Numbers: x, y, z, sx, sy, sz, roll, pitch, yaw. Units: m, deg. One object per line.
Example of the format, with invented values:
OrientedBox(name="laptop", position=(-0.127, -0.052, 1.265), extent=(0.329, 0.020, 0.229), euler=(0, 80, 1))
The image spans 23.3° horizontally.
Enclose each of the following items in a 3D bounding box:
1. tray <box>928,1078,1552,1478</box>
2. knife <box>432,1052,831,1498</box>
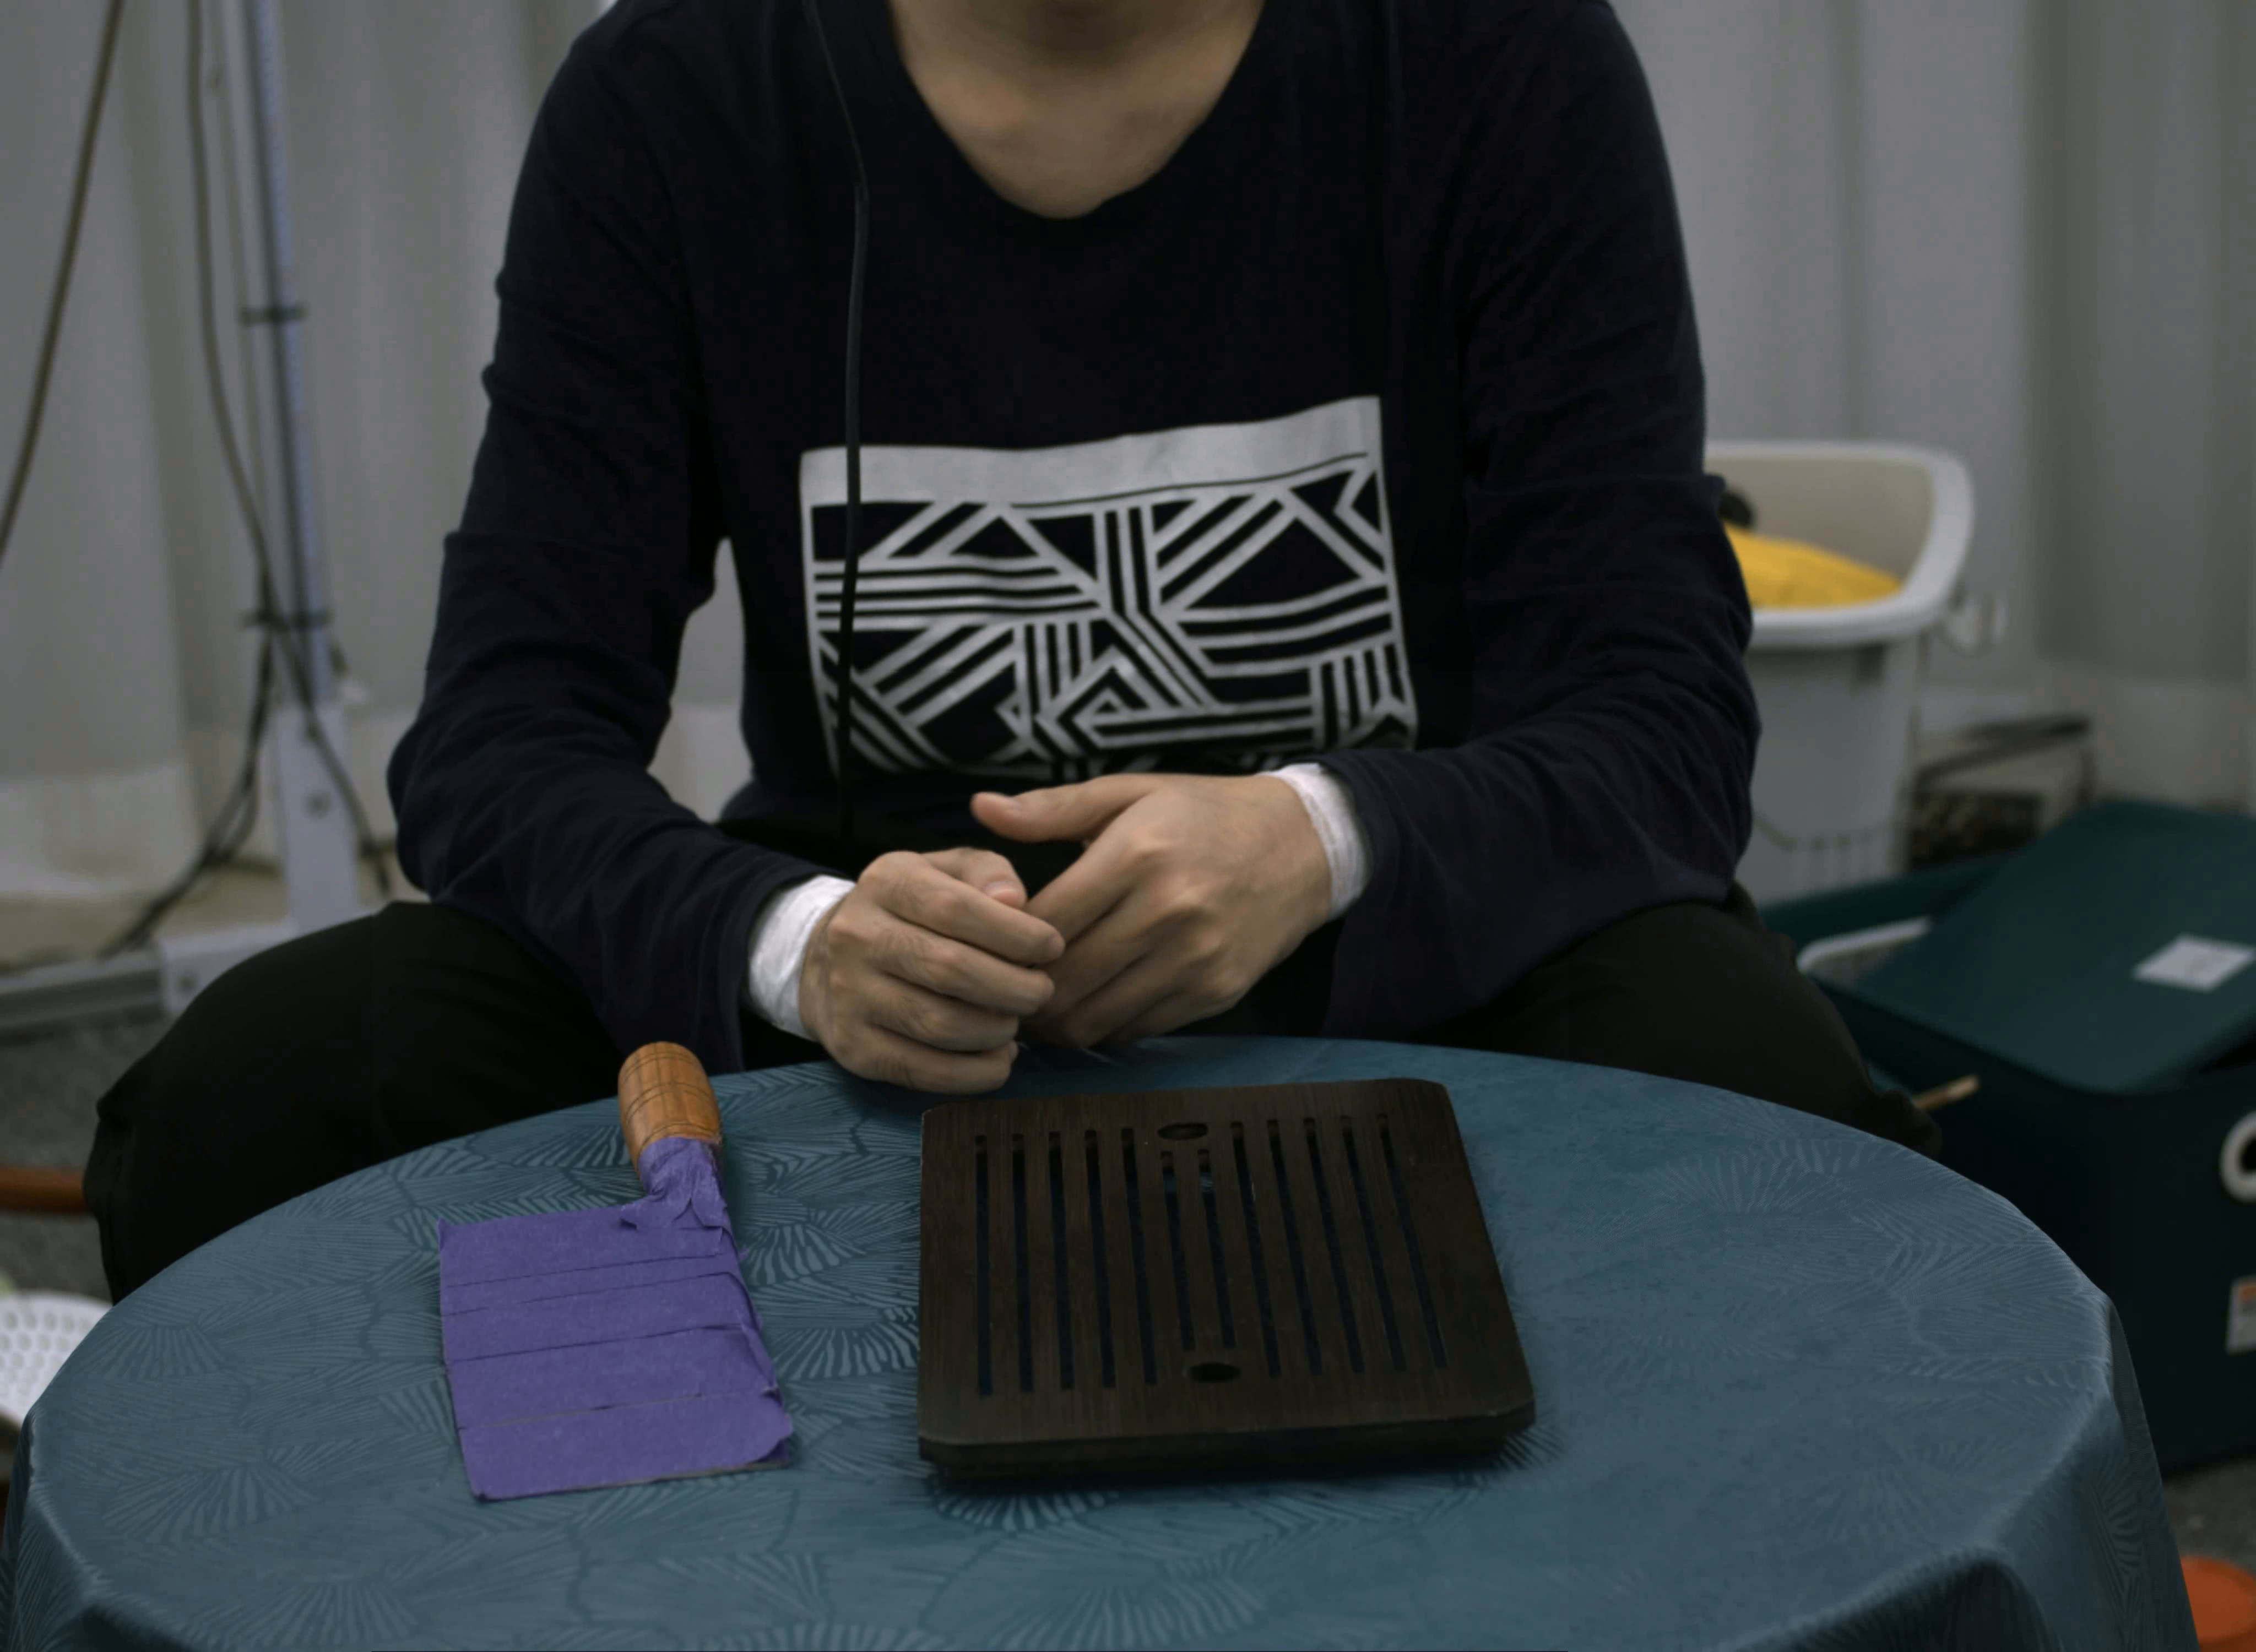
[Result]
OrientedBox(name="tray", position=(0.026, 0.131, 1.616), extent=(0.169, 0.018, 0.308), euler=(-3, 14, -1))
OrientedBox(name="knife", position=(-0.159, 0.130, 1.637), extent=(0.103, 0.032, 0.318), euler=(-5, 15, -9))
